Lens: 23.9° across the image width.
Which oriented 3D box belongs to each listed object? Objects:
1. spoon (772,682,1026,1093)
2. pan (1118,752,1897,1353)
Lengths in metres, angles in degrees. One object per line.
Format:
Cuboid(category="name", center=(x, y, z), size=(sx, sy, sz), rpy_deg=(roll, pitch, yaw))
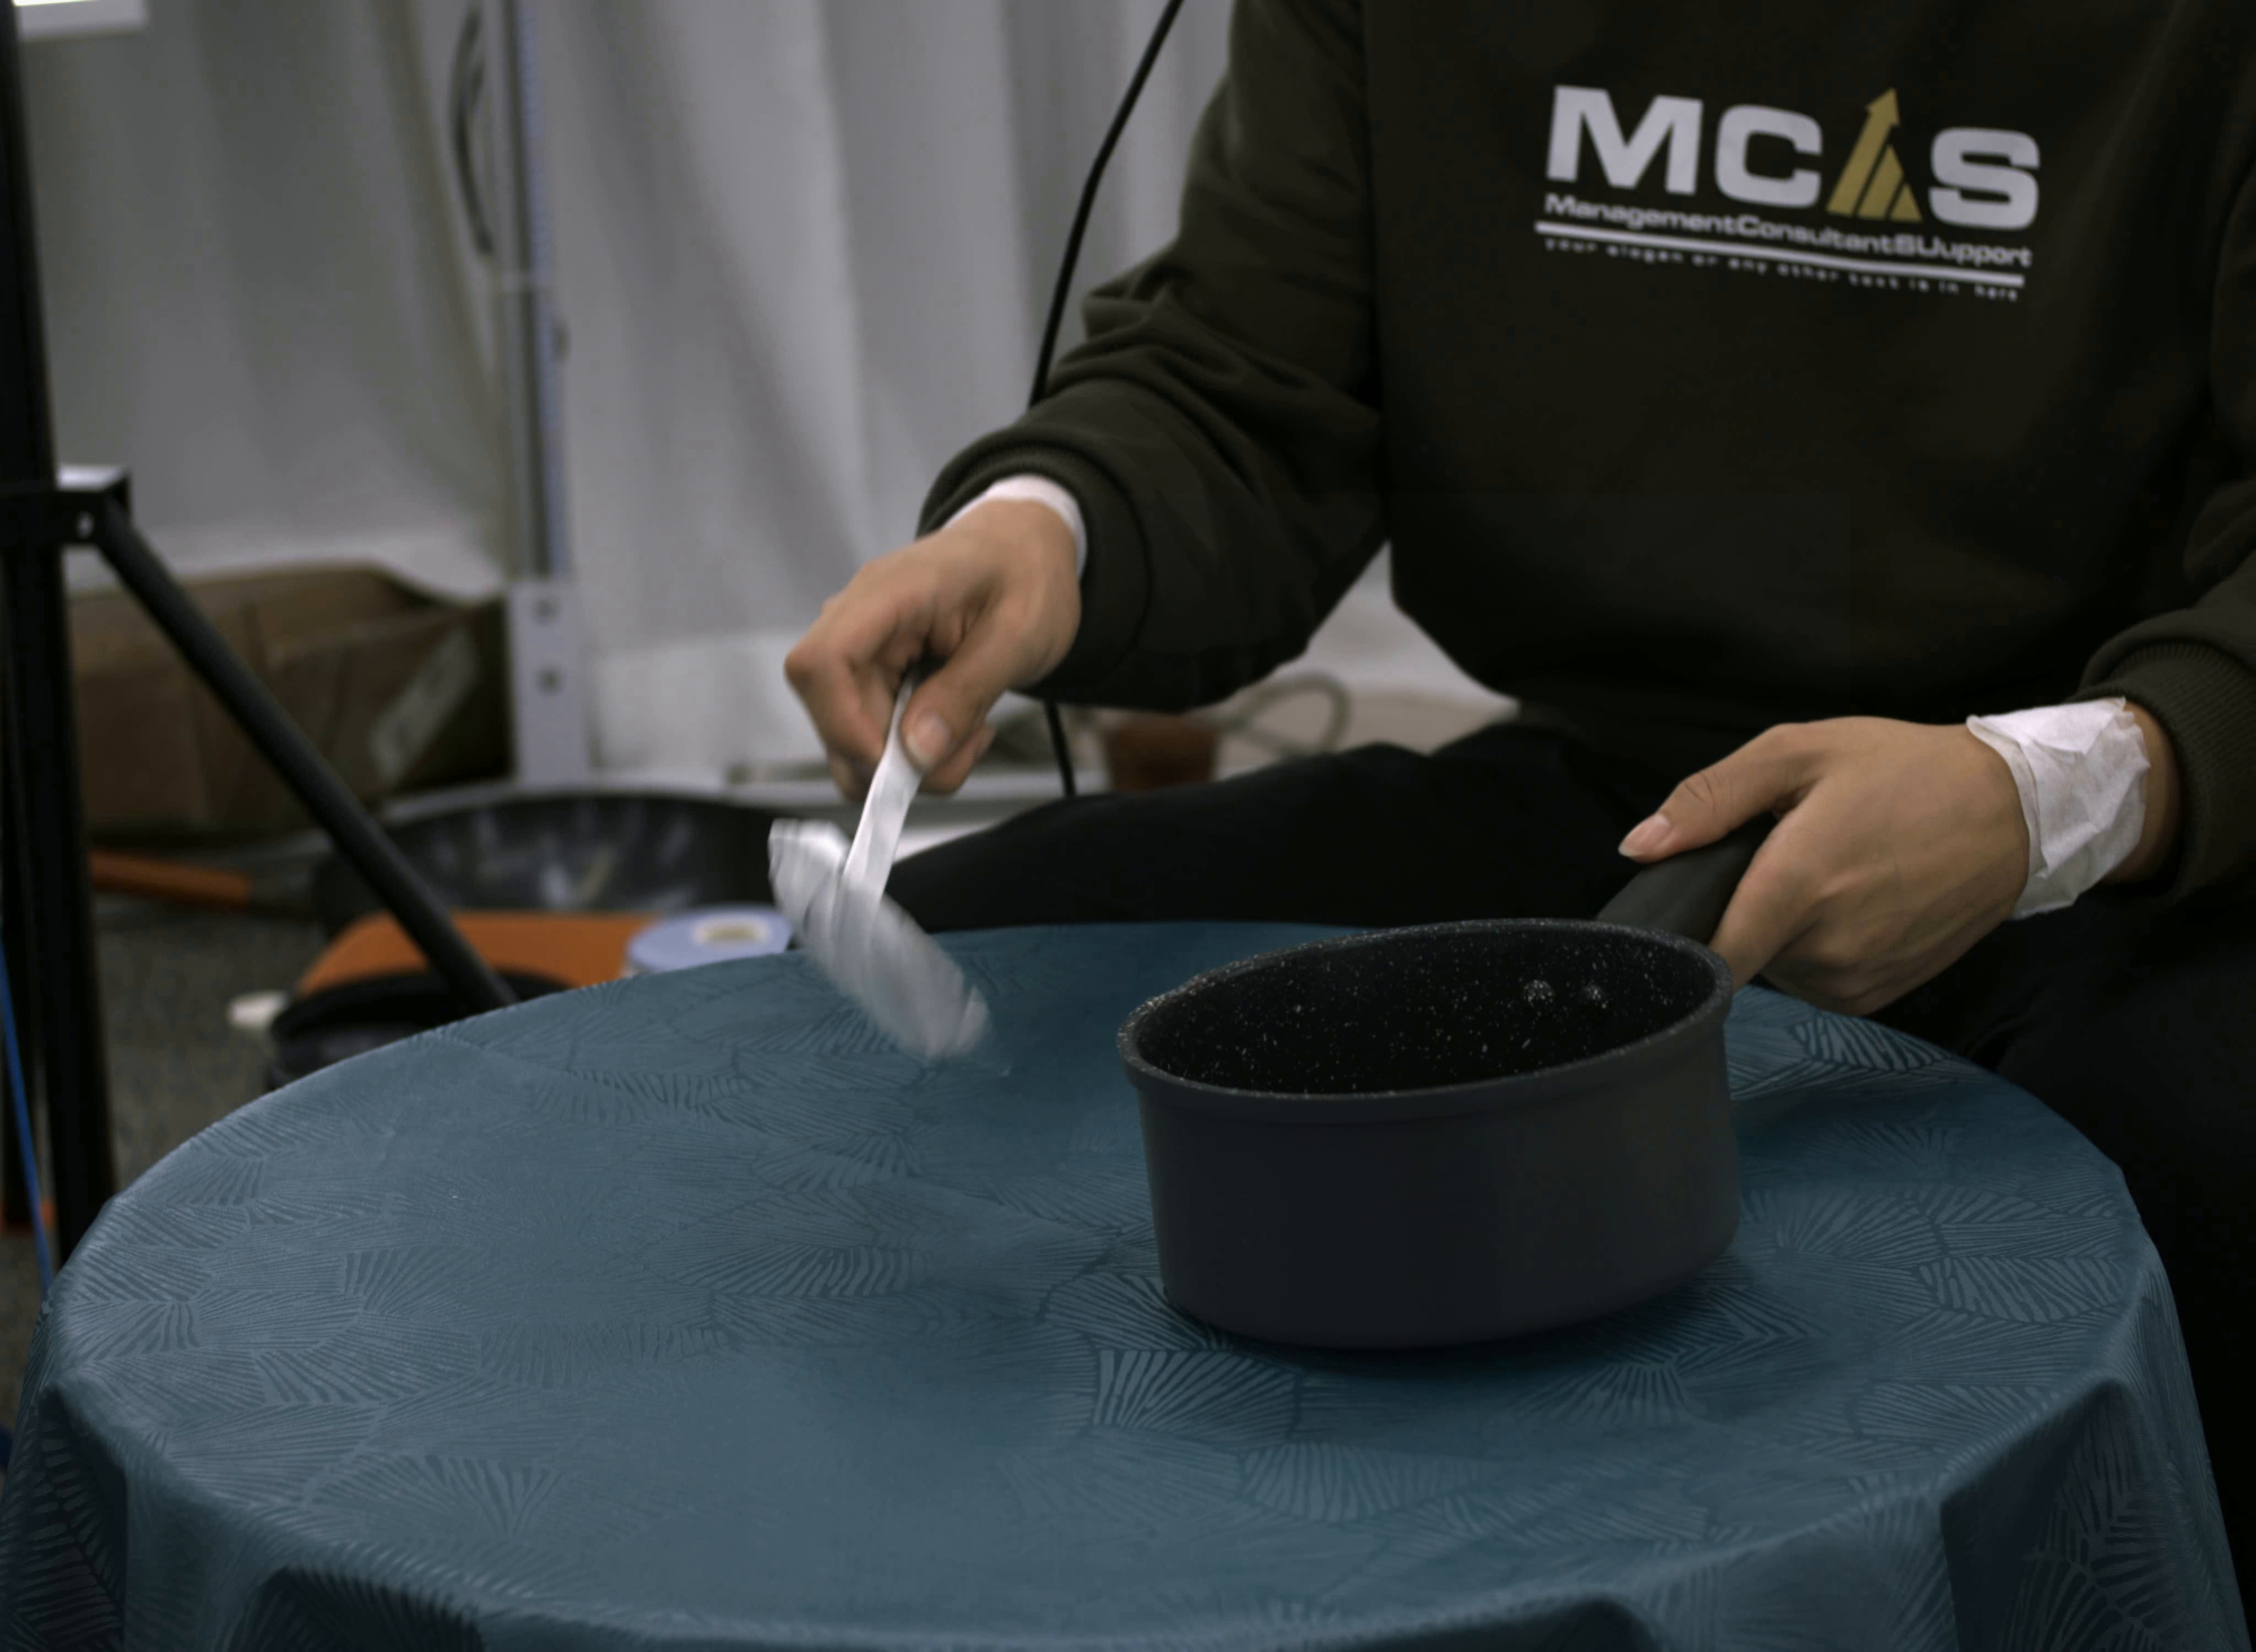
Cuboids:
Cuboid(category="spoon", center=(-0.052, 0.002, 1.590), size=(0.060, 0.100, 0.277), rpy_deg=(-33, 14, 20))
Cuboid(category="pan", center=(0.131, 0.062, 1.527), size=(0.175, 0.086, 0.322), rpy_deg=(5, 19, 37))
